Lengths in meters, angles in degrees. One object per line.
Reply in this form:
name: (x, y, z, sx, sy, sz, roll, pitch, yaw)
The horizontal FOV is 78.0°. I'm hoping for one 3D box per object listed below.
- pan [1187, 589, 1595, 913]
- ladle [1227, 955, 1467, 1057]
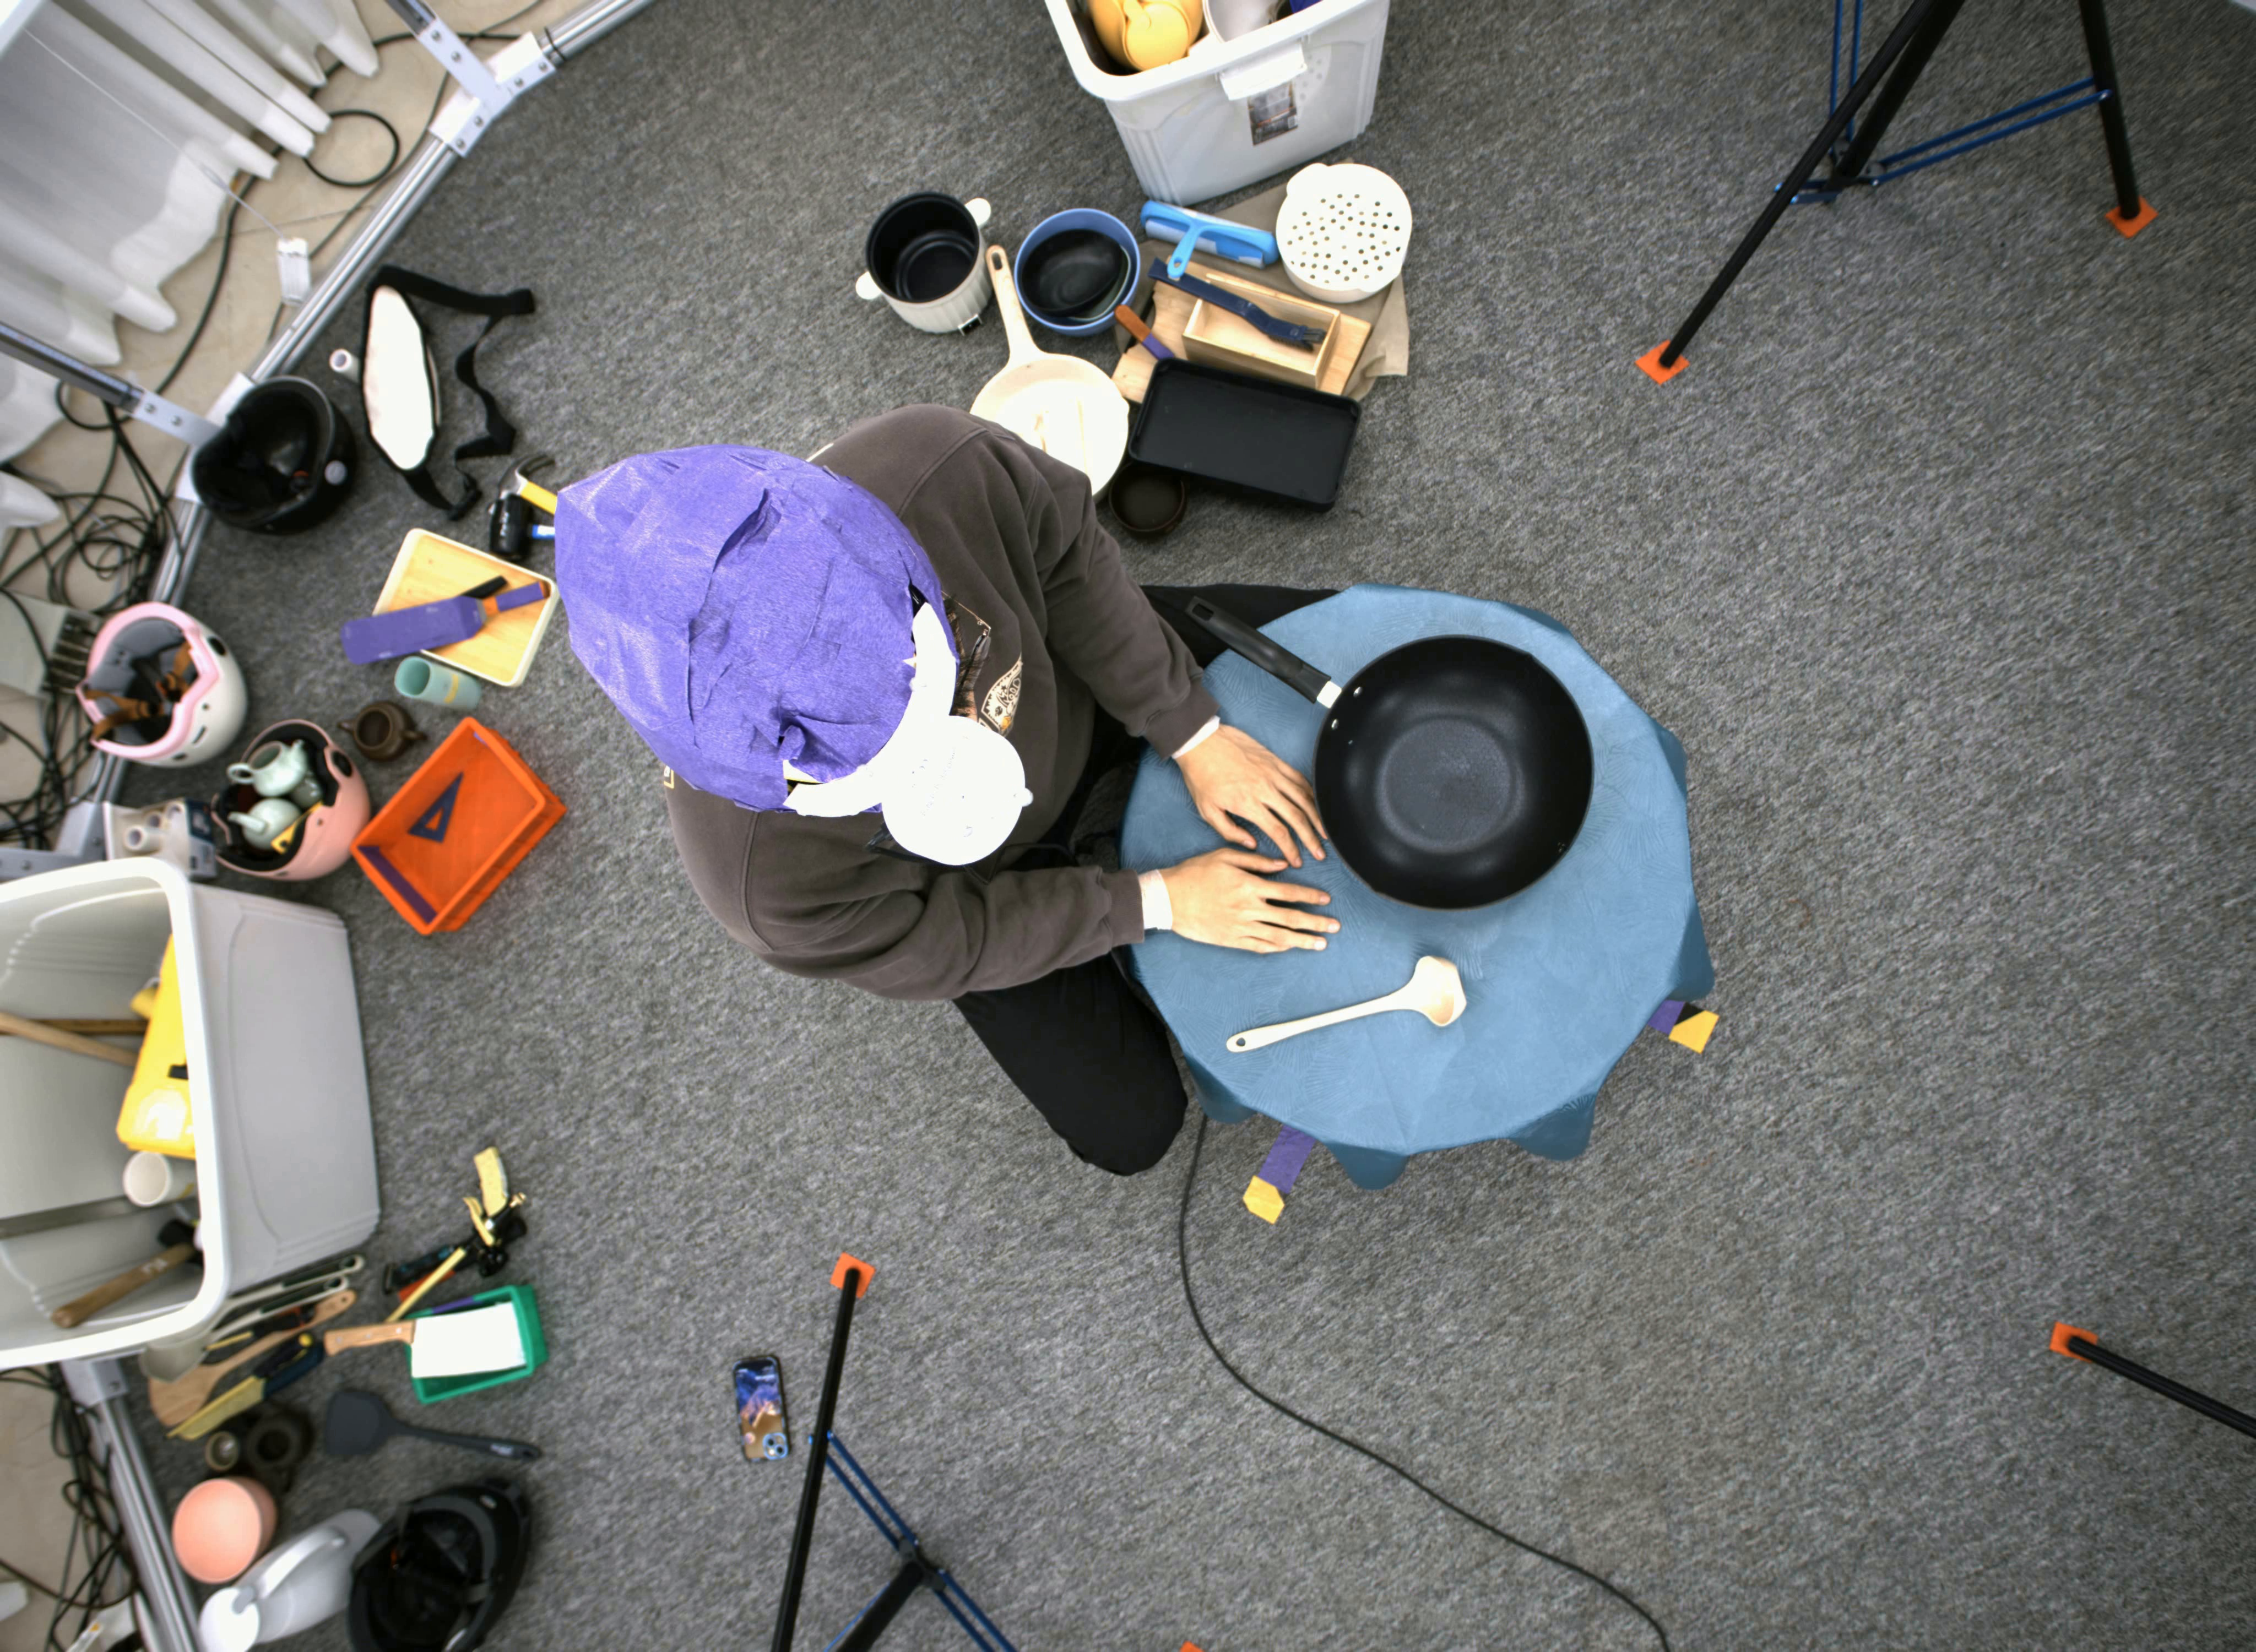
pan: (0.255, -0.102, 1.427, 0.462, 0.087, 0.289, 35, 94, 11)
ladle: (0.220, 0.196, 1.424, 0.256, 0.073, 0.072, -18, 85, 8)
